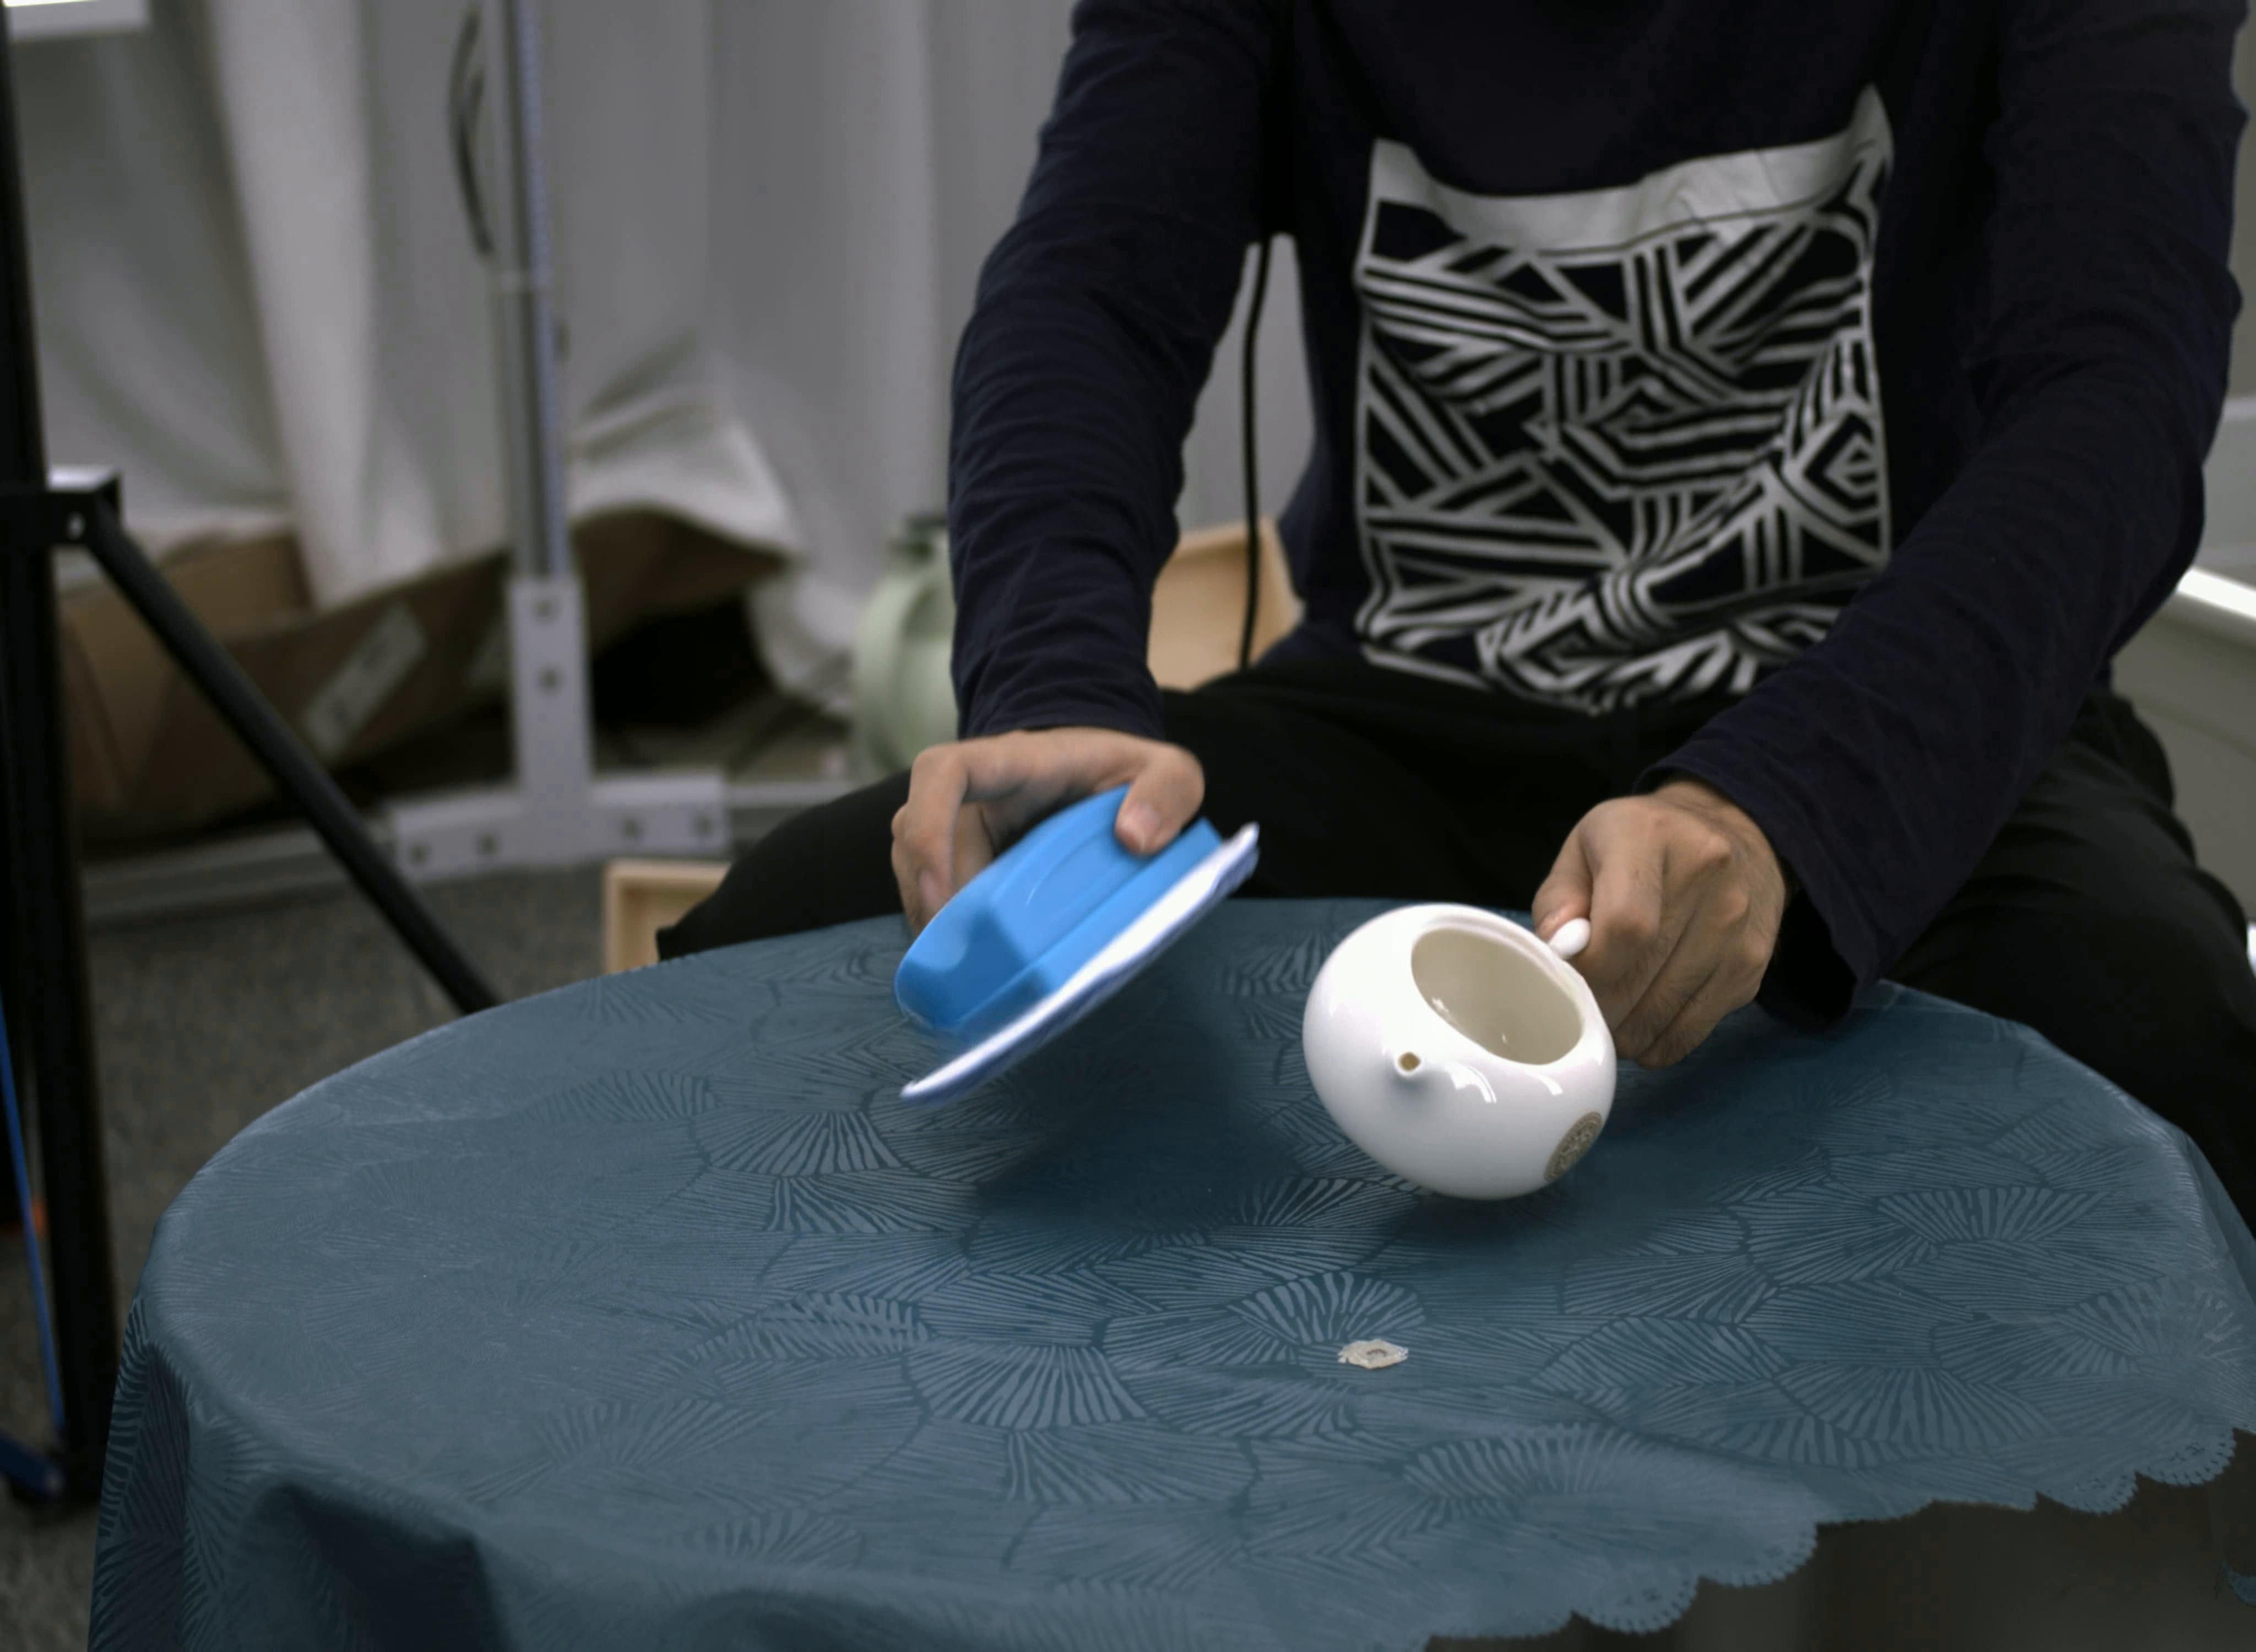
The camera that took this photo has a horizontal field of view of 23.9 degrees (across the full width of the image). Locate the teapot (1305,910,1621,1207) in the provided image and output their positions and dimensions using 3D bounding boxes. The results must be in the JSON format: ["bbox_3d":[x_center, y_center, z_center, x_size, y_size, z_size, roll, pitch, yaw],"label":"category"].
[{"bbox_3d":[0.102,0.063,1.535,0.094,0.057,0.125,33,37,12],"label":"teapot"}]

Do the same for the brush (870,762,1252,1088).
[{"bbox_3d":[-0.025,0.026,1.595,0.085,0.056,0.142,-29,8,37],"label":"brush"}]
